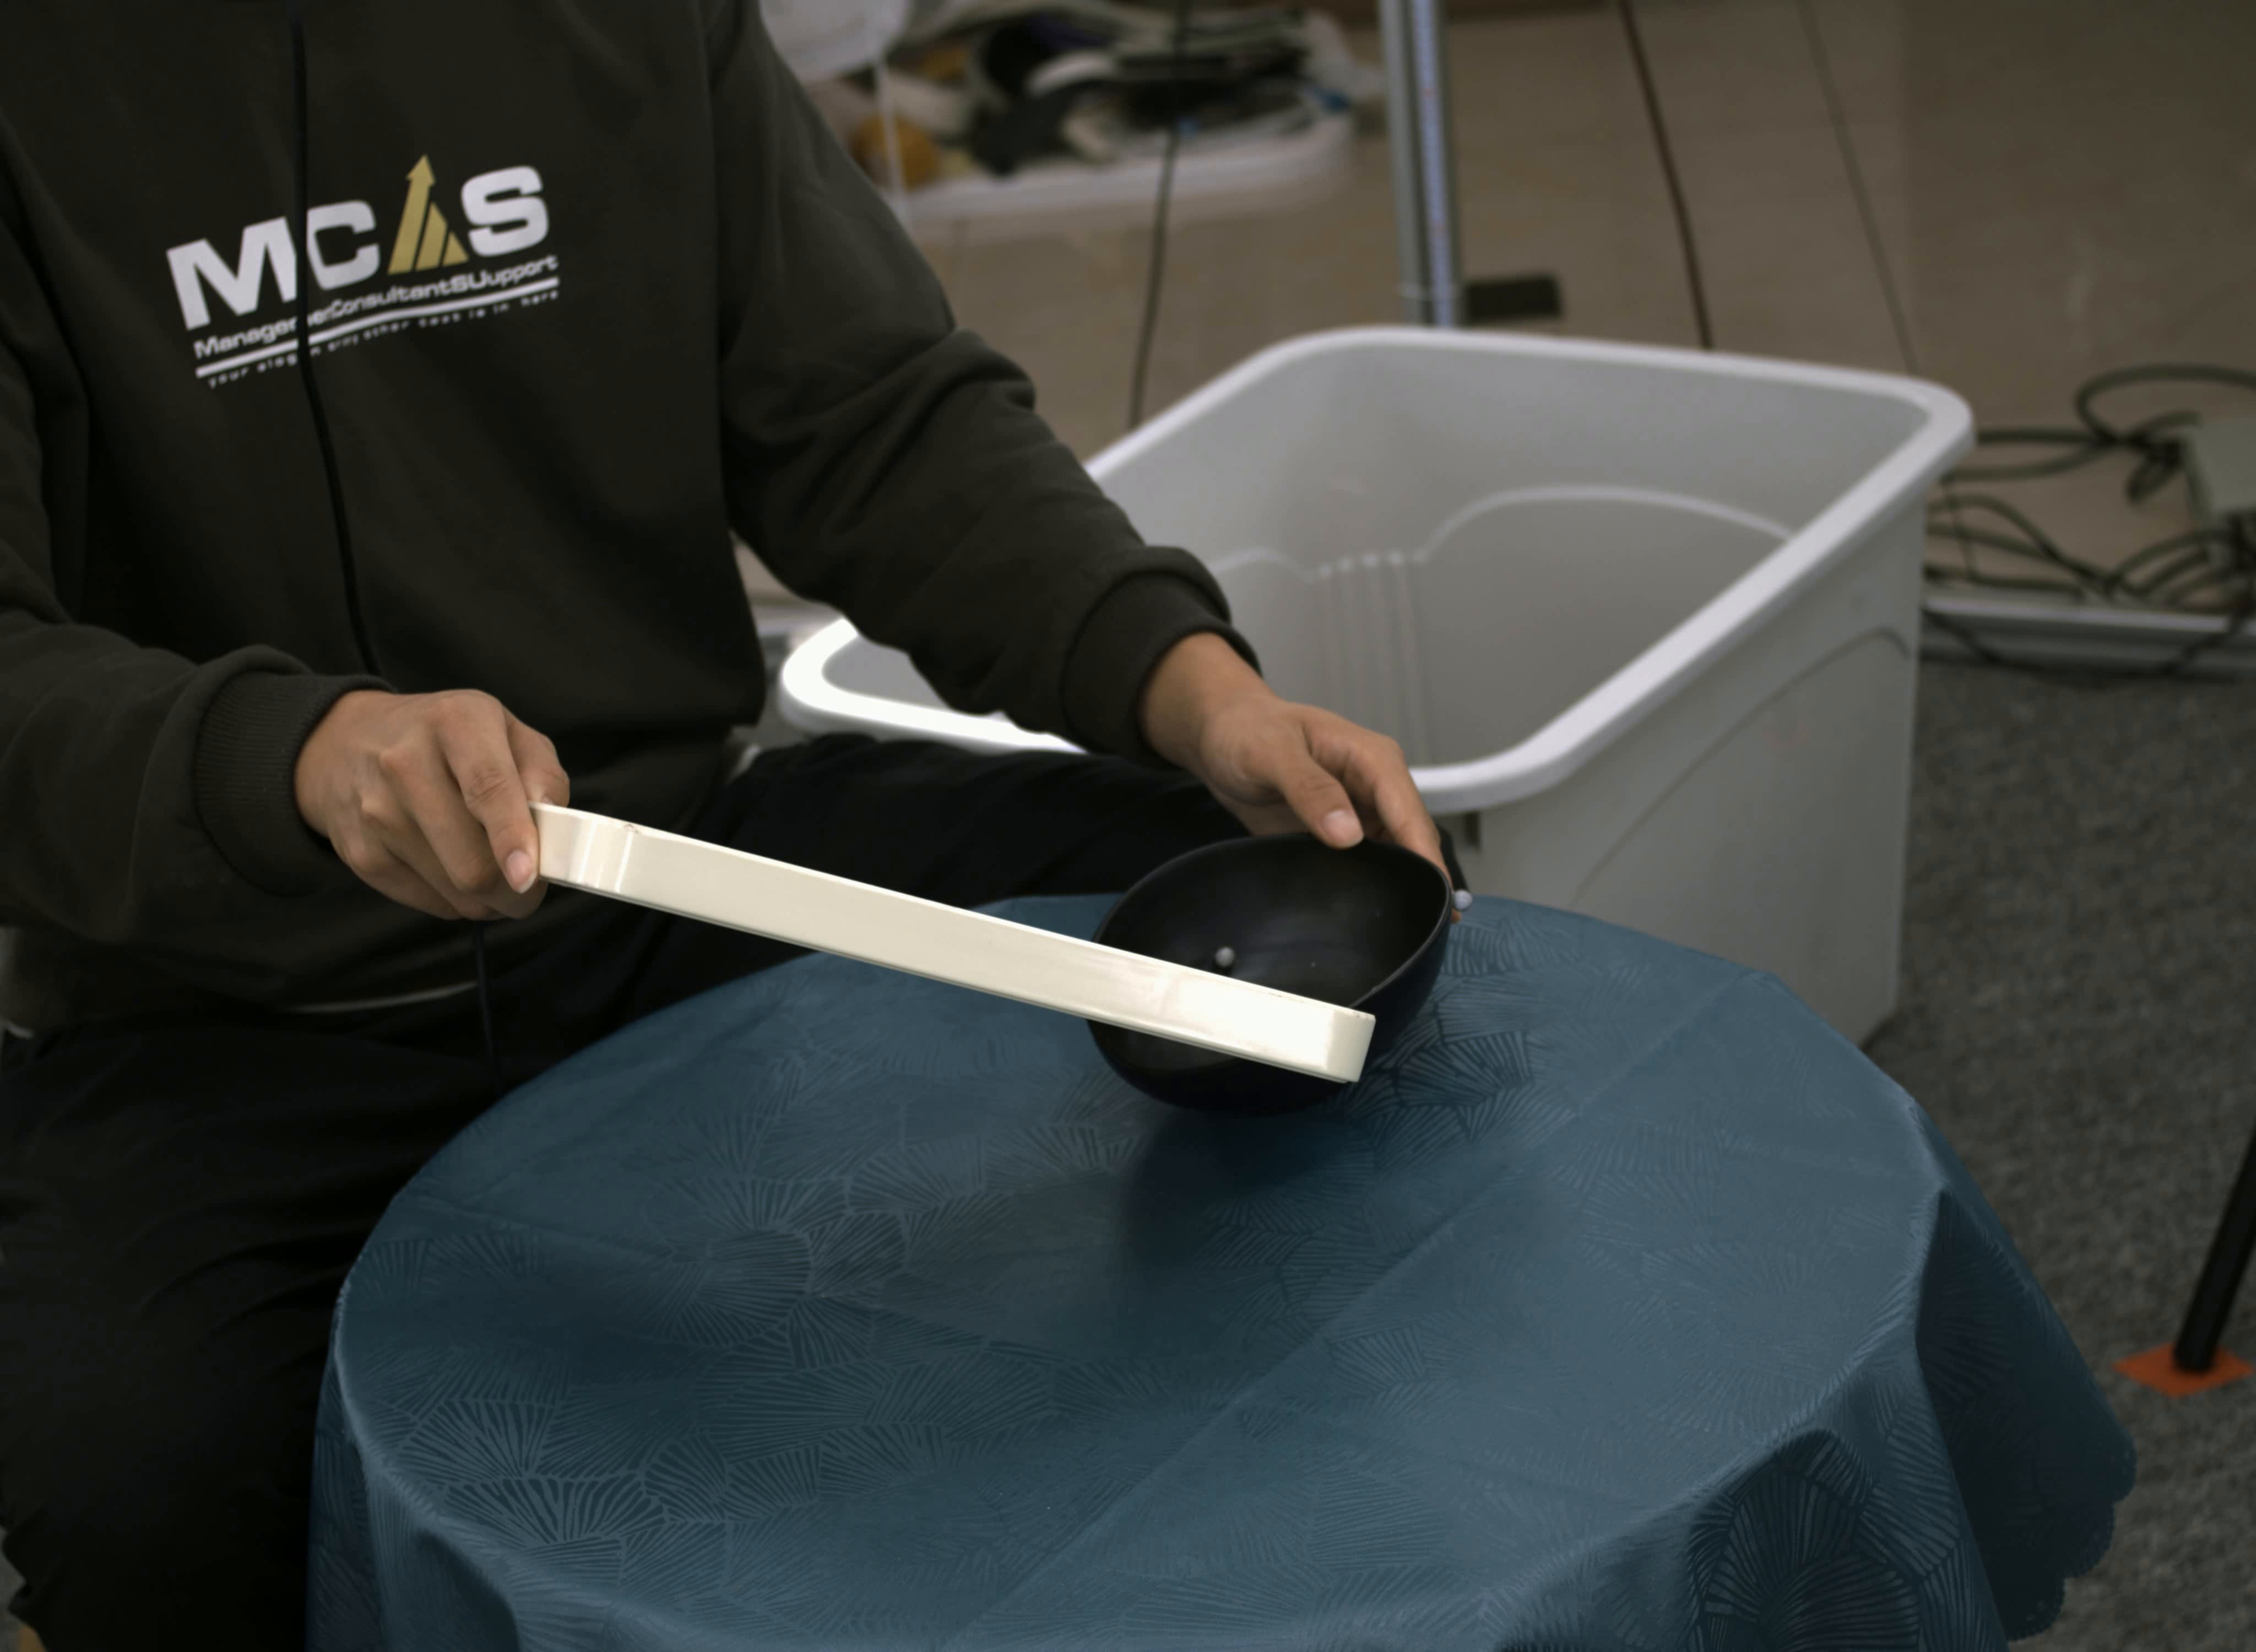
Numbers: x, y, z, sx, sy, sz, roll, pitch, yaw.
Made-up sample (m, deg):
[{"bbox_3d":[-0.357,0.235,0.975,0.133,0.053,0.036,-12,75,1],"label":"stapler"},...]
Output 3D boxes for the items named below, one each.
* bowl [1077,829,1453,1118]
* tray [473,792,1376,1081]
[{"bbox_3d":[0.057,0.068,2.207,0.136,0.068,0.168,12,38,33],"label":"bowl"},{"bbox_3d":[-0.076,0.040,2.048,0.301,0.027,0.191,15,-2,-19],"label":"tray"}]
